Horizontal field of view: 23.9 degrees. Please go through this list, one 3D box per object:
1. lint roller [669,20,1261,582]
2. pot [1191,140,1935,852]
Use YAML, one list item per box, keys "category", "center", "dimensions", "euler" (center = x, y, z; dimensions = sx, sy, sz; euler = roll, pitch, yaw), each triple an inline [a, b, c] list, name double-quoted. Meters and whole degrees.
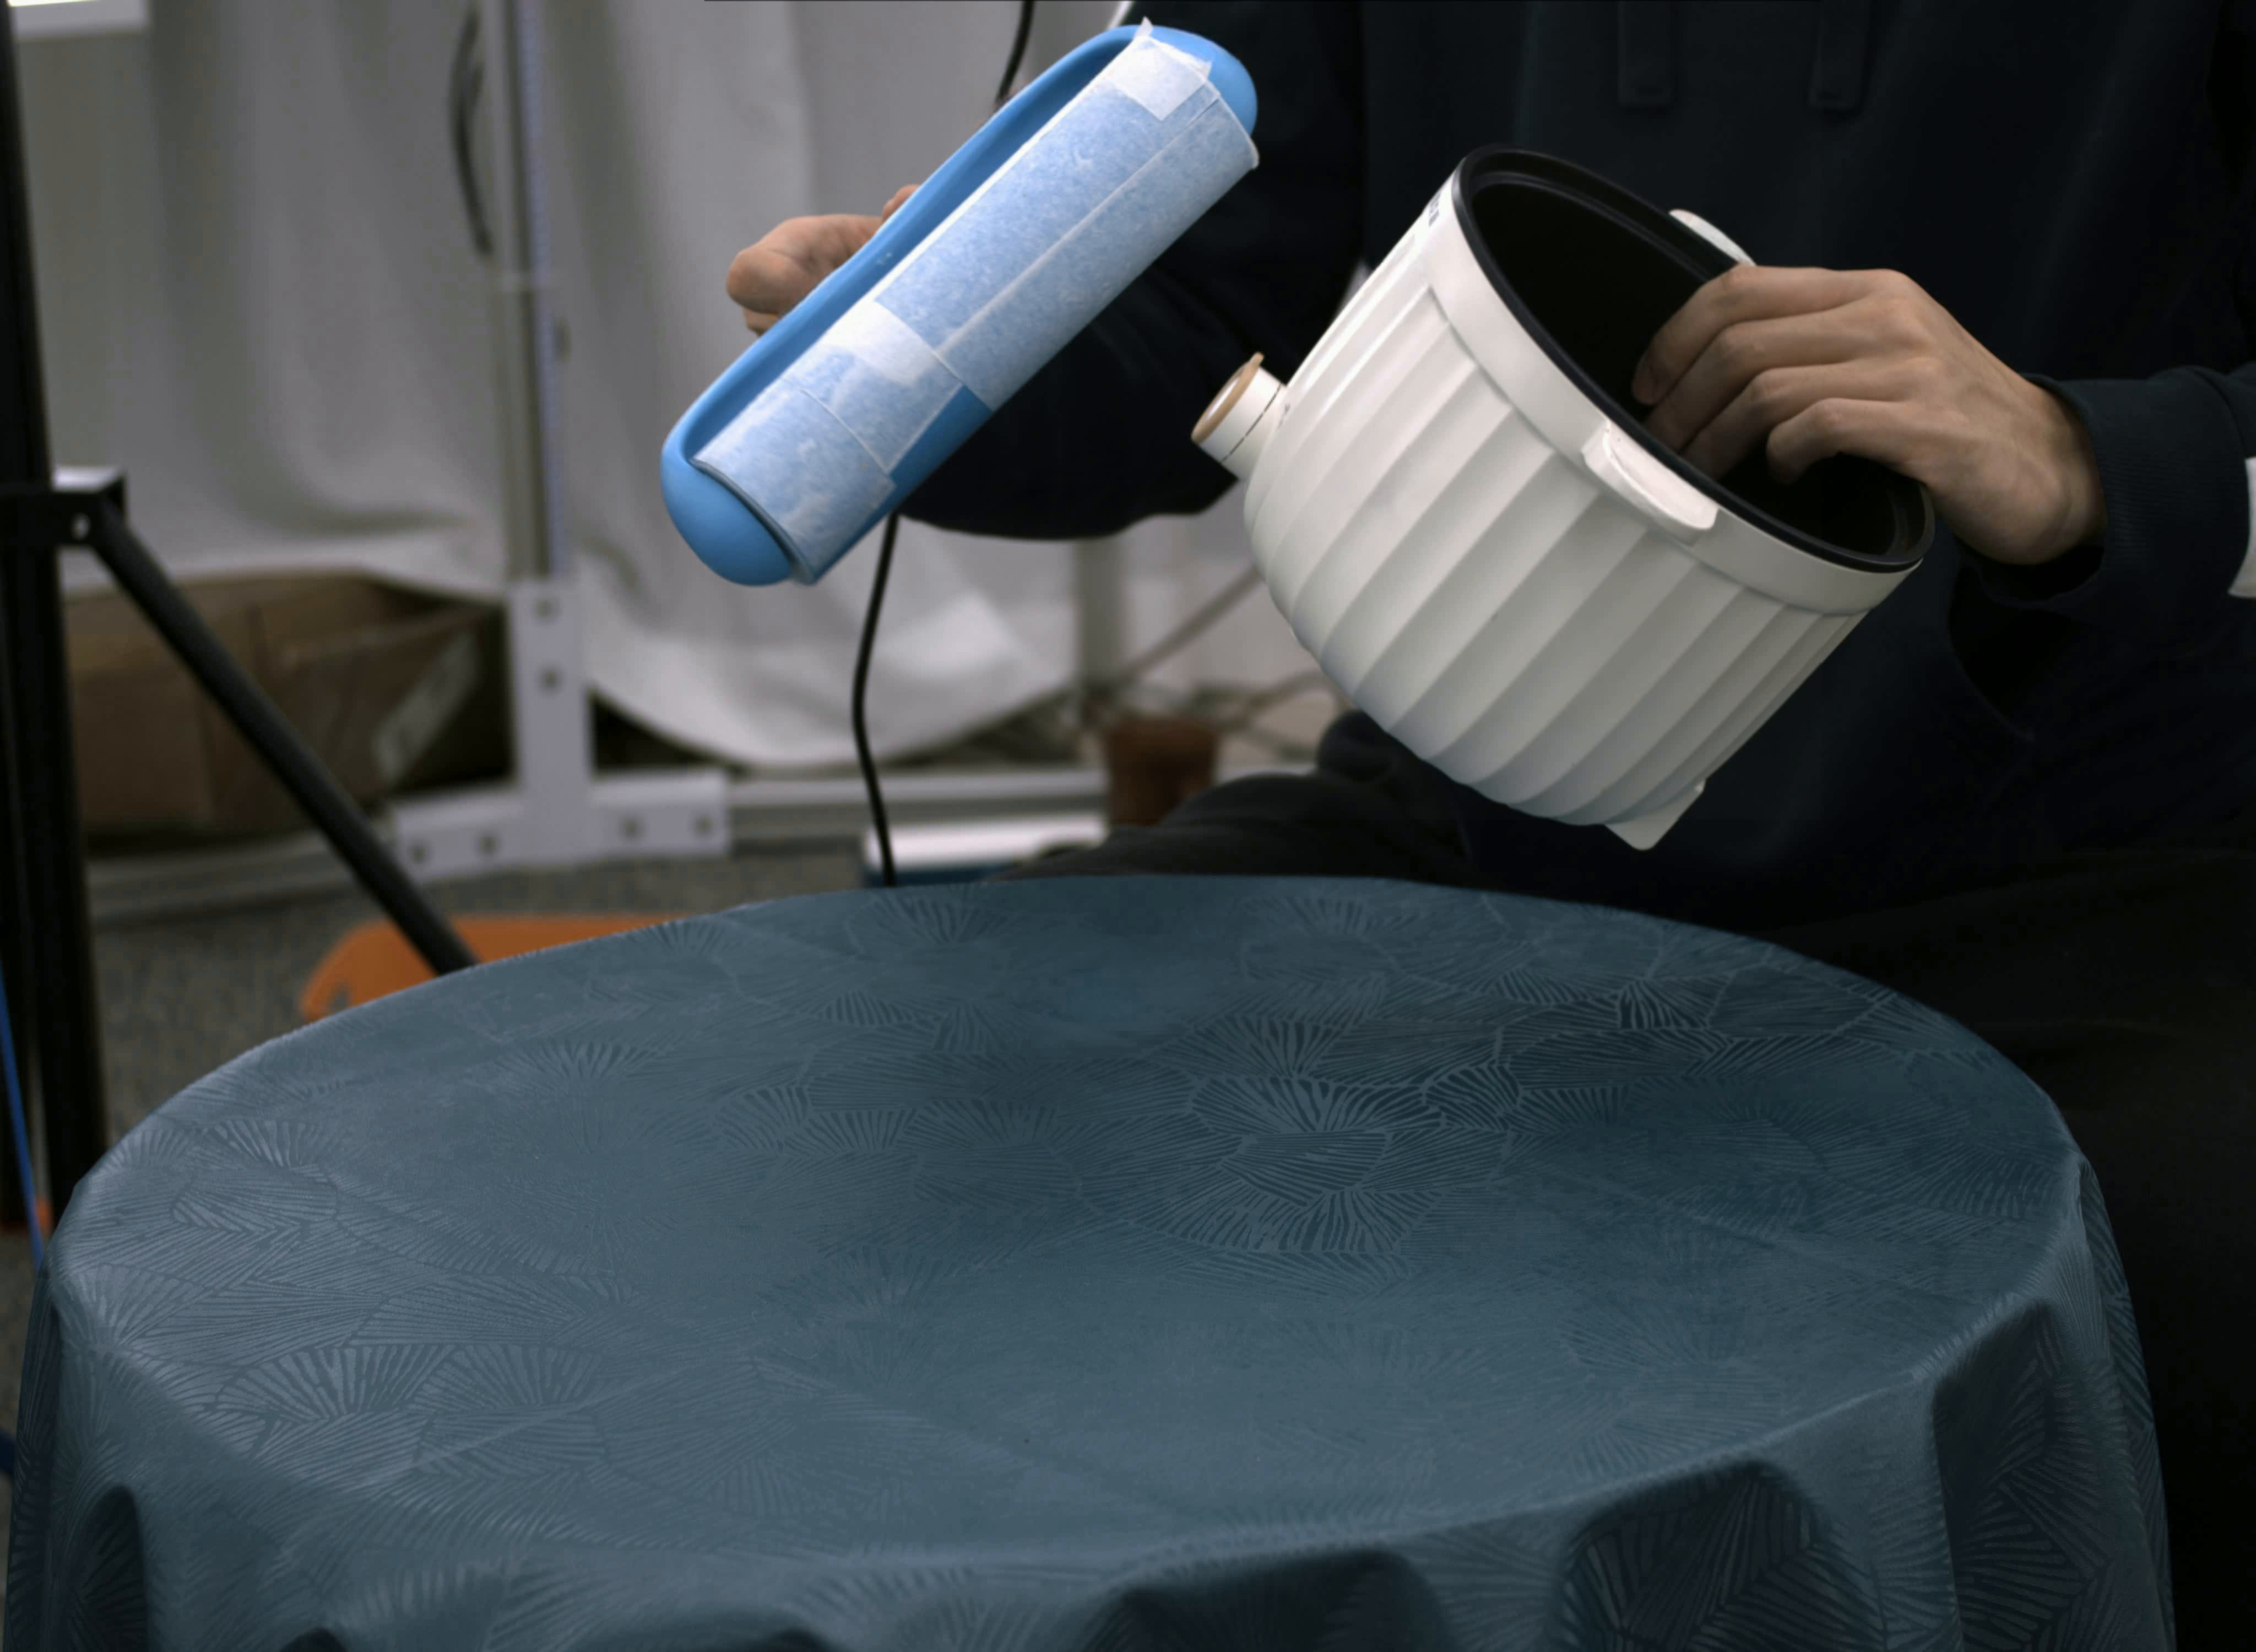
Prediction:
- category: "lint roller"
  center: [-0.064, -0.158, 1.687]
  dimensions: [0.228, 0.067, 0.182]
  euler: [-46, 11, -14]
- category: "pot"
  center: [0.126, -0.097, 1.599]
  dimensions: [0.189, 0.144, 0.240]
  euler: [39, 24, -8]
